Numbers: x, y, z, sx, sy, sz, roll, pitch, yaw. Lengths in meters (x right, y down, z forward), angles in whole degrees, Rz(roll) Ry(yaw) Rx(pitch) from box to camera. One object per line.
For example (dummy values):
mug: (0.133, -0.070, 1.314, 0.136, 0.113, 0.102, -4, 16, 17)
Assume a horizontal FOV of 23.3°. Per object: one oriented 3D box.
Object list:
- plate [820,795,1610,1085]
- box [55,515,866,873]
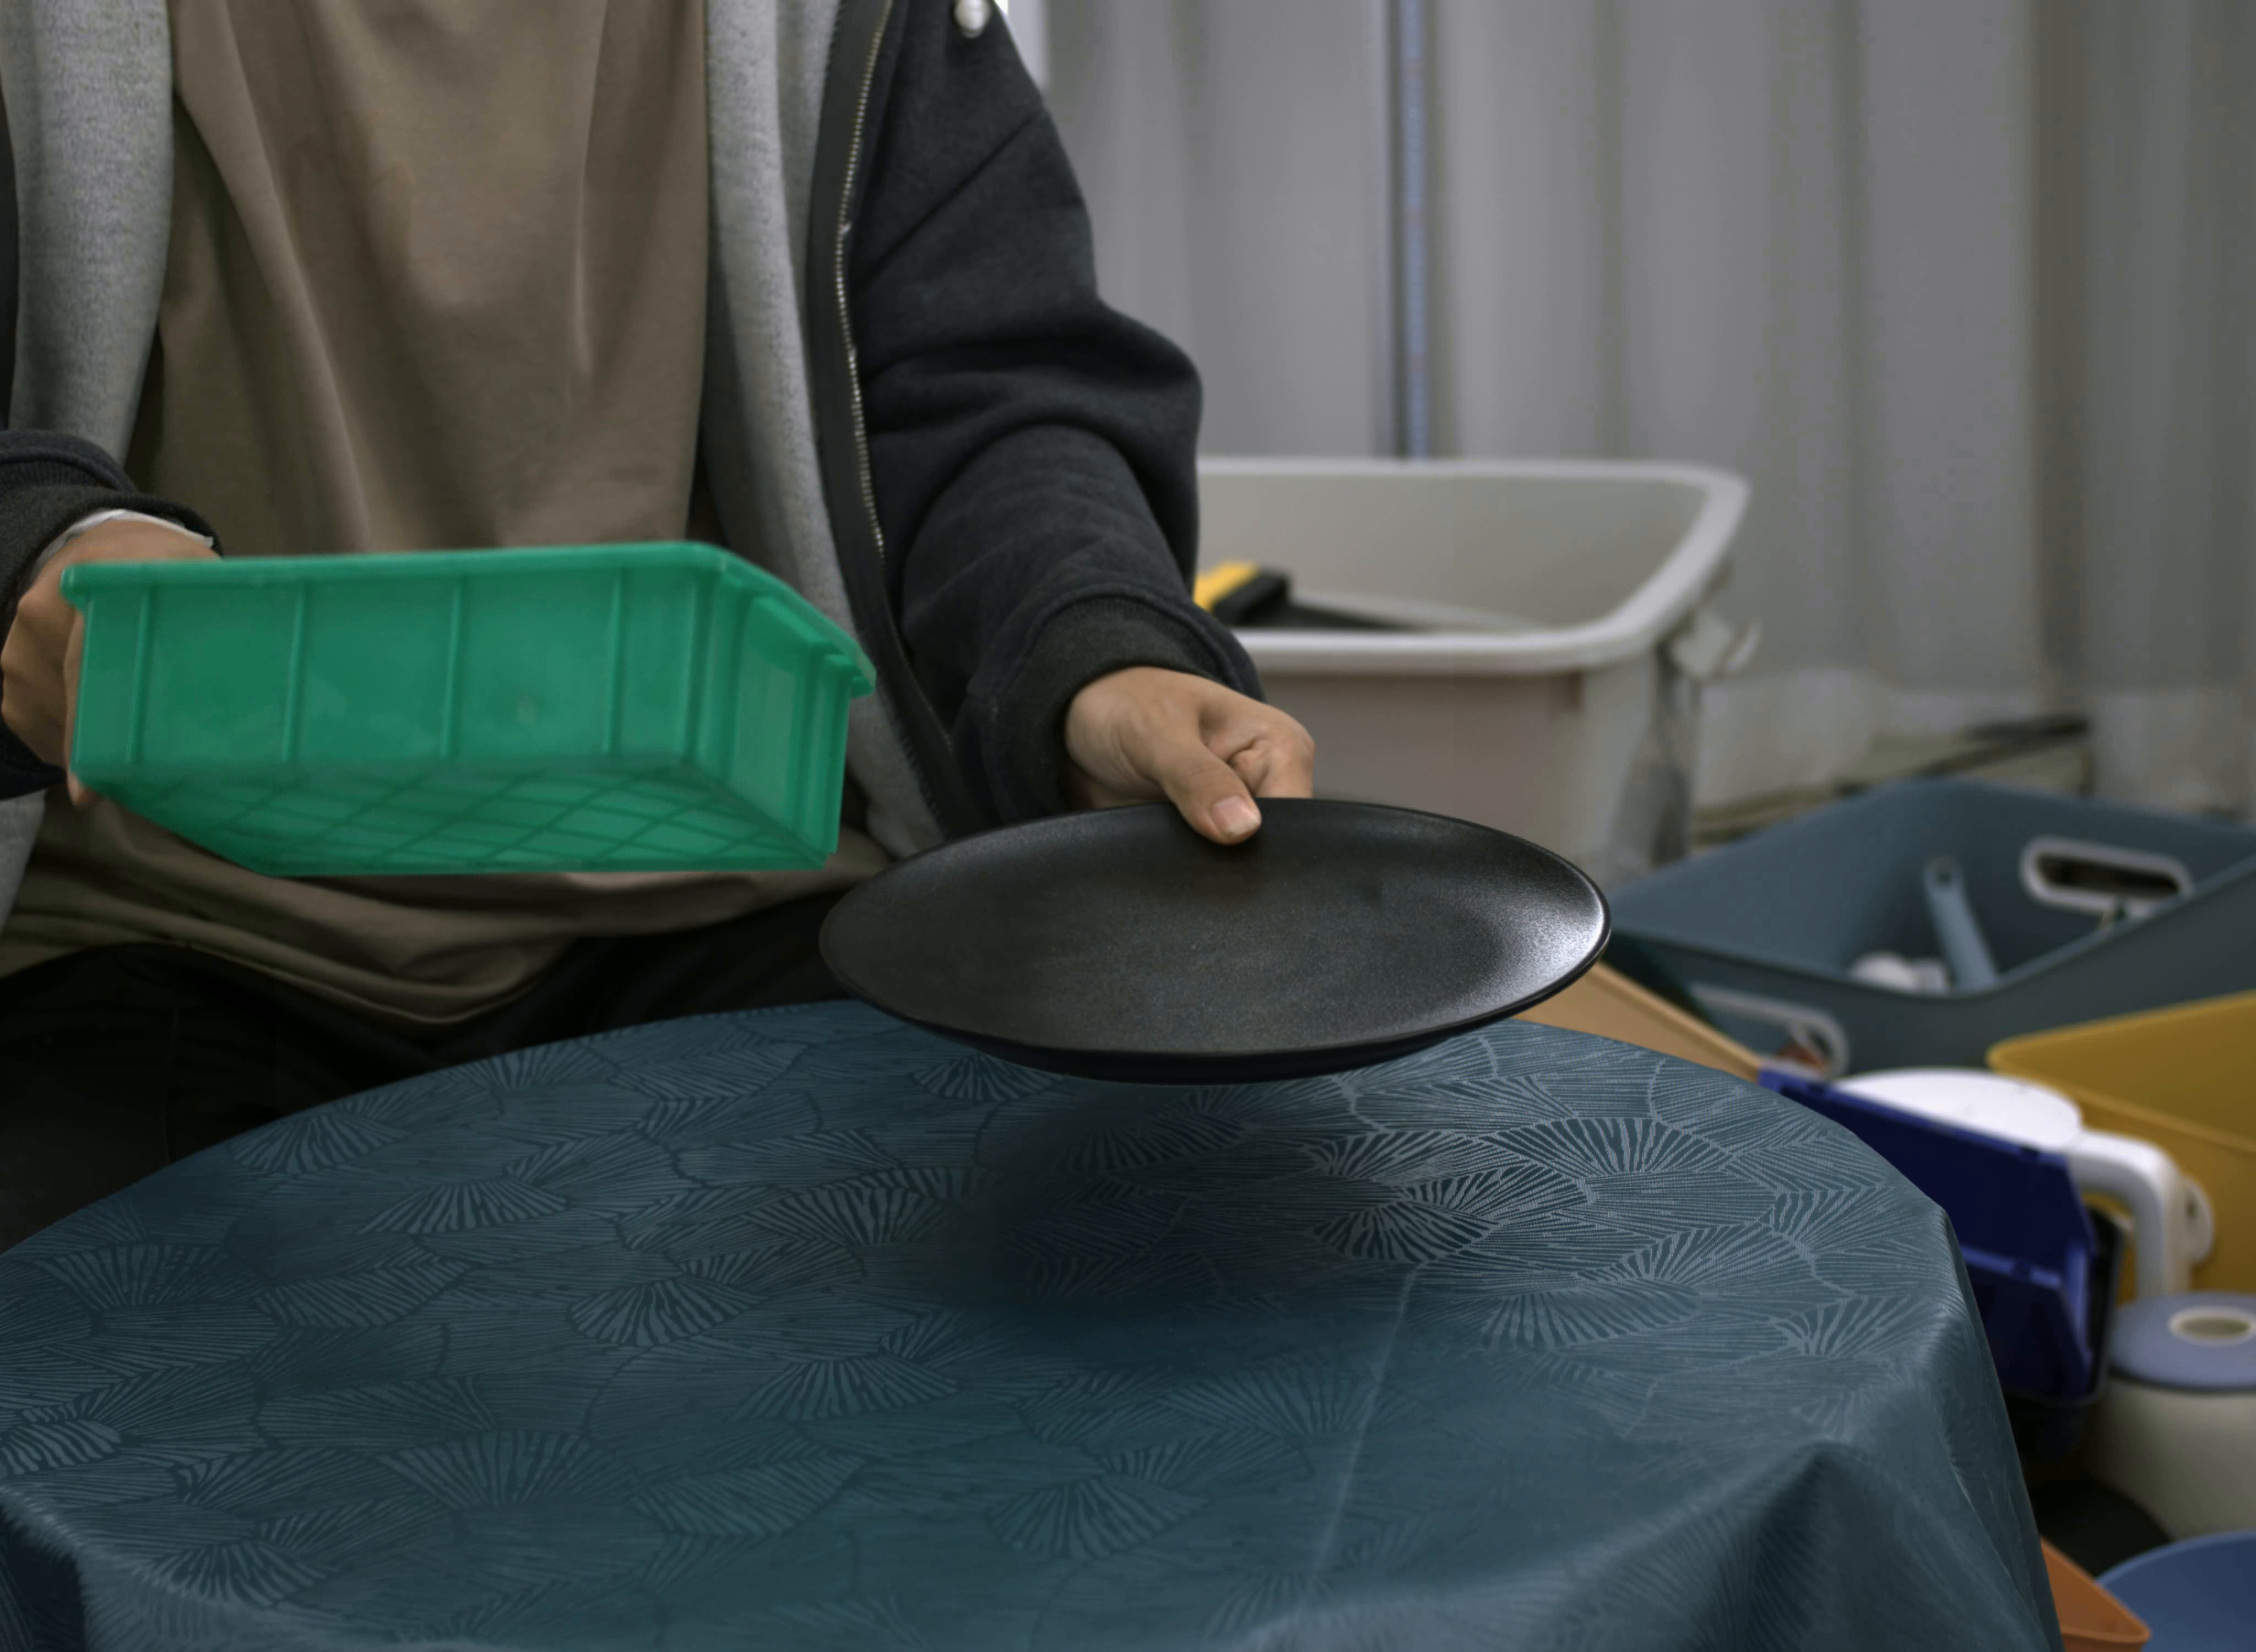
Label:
plate: (0.027, 0.038, 1.684, 0.243, 0.023, 0.246, -2, 18, 0)
box: (-0.188, -0.033, 1.543, 0.210, 0.066, 0.137, -2, -18, 16)
